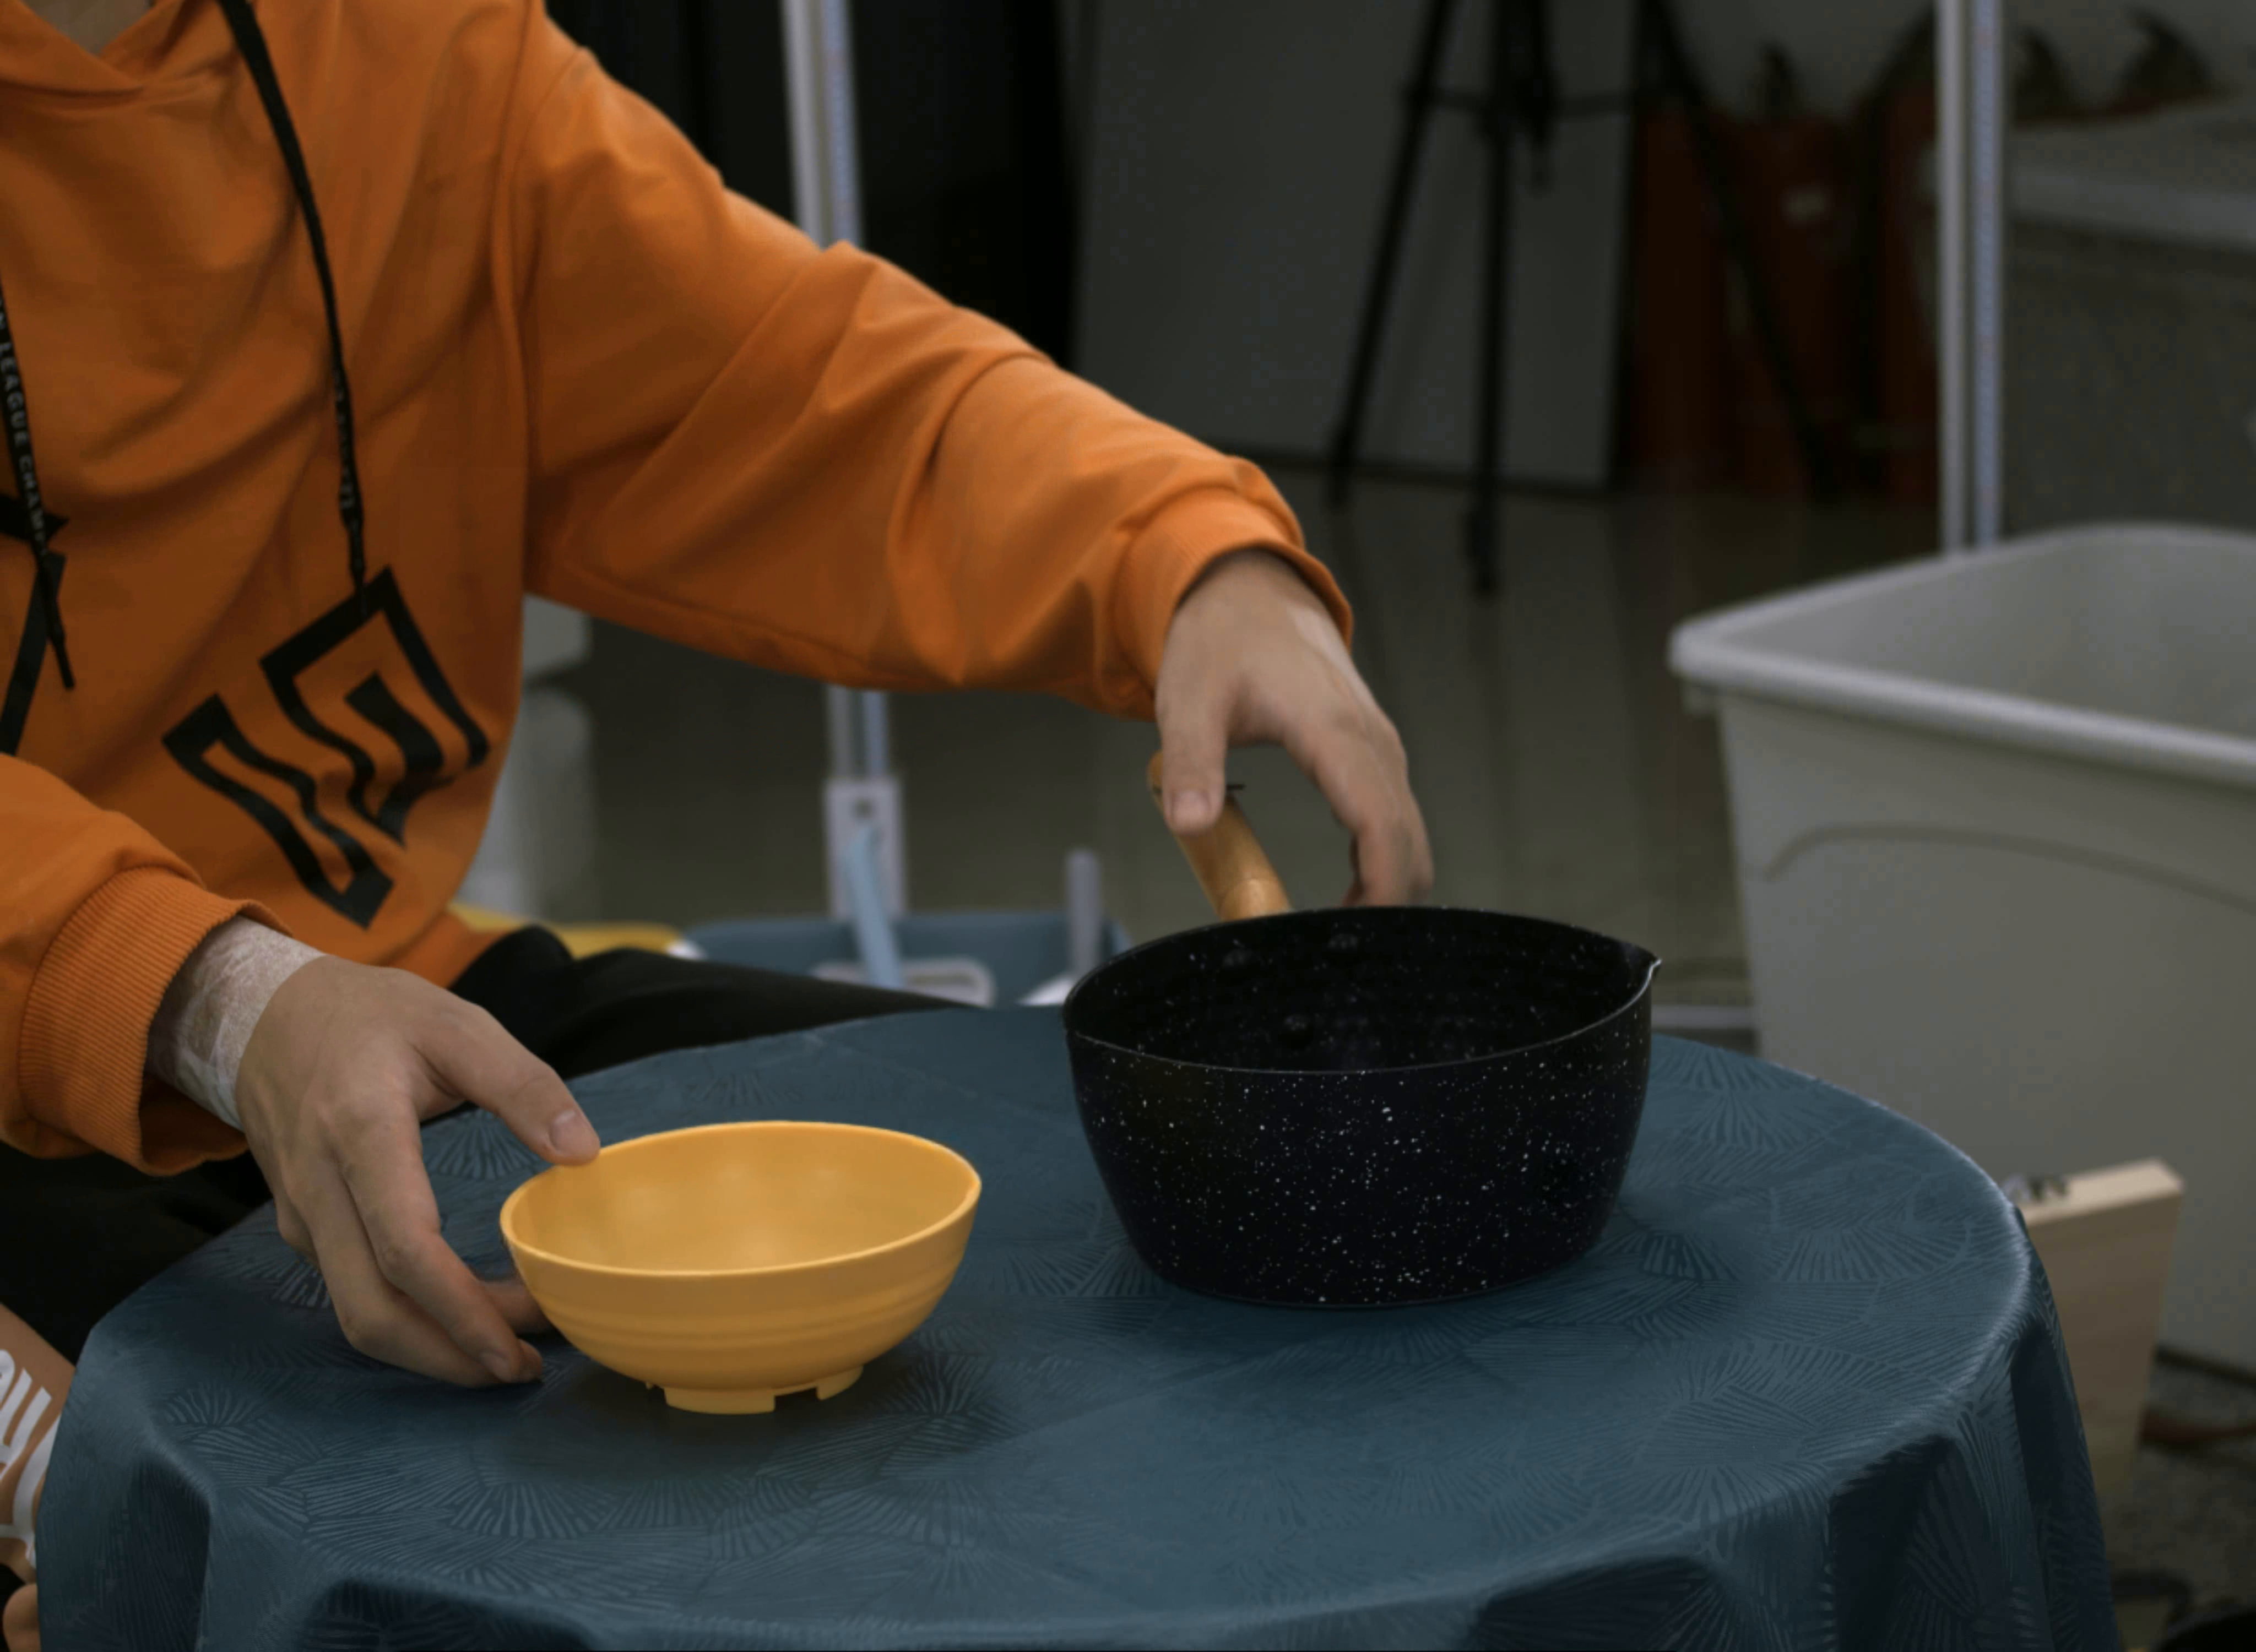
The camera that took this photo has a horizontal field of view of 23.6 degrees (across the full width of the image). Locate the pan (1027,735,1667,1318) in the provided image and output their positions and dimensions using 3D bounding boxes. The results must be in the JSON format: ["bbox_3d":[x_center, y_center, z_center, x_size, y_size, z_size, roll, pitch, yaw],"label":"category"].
[{"bbox_3d":[0.056,0.060,1.774,0.204,0.109,0.345,-8,16,-11],"label":"pan"}]

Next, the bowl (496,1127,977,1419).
[{"bbox_3d":[-0.115,0.138,1.614,0.143,0.061,0.145,-3,13,0],"label":"bowl"}]
